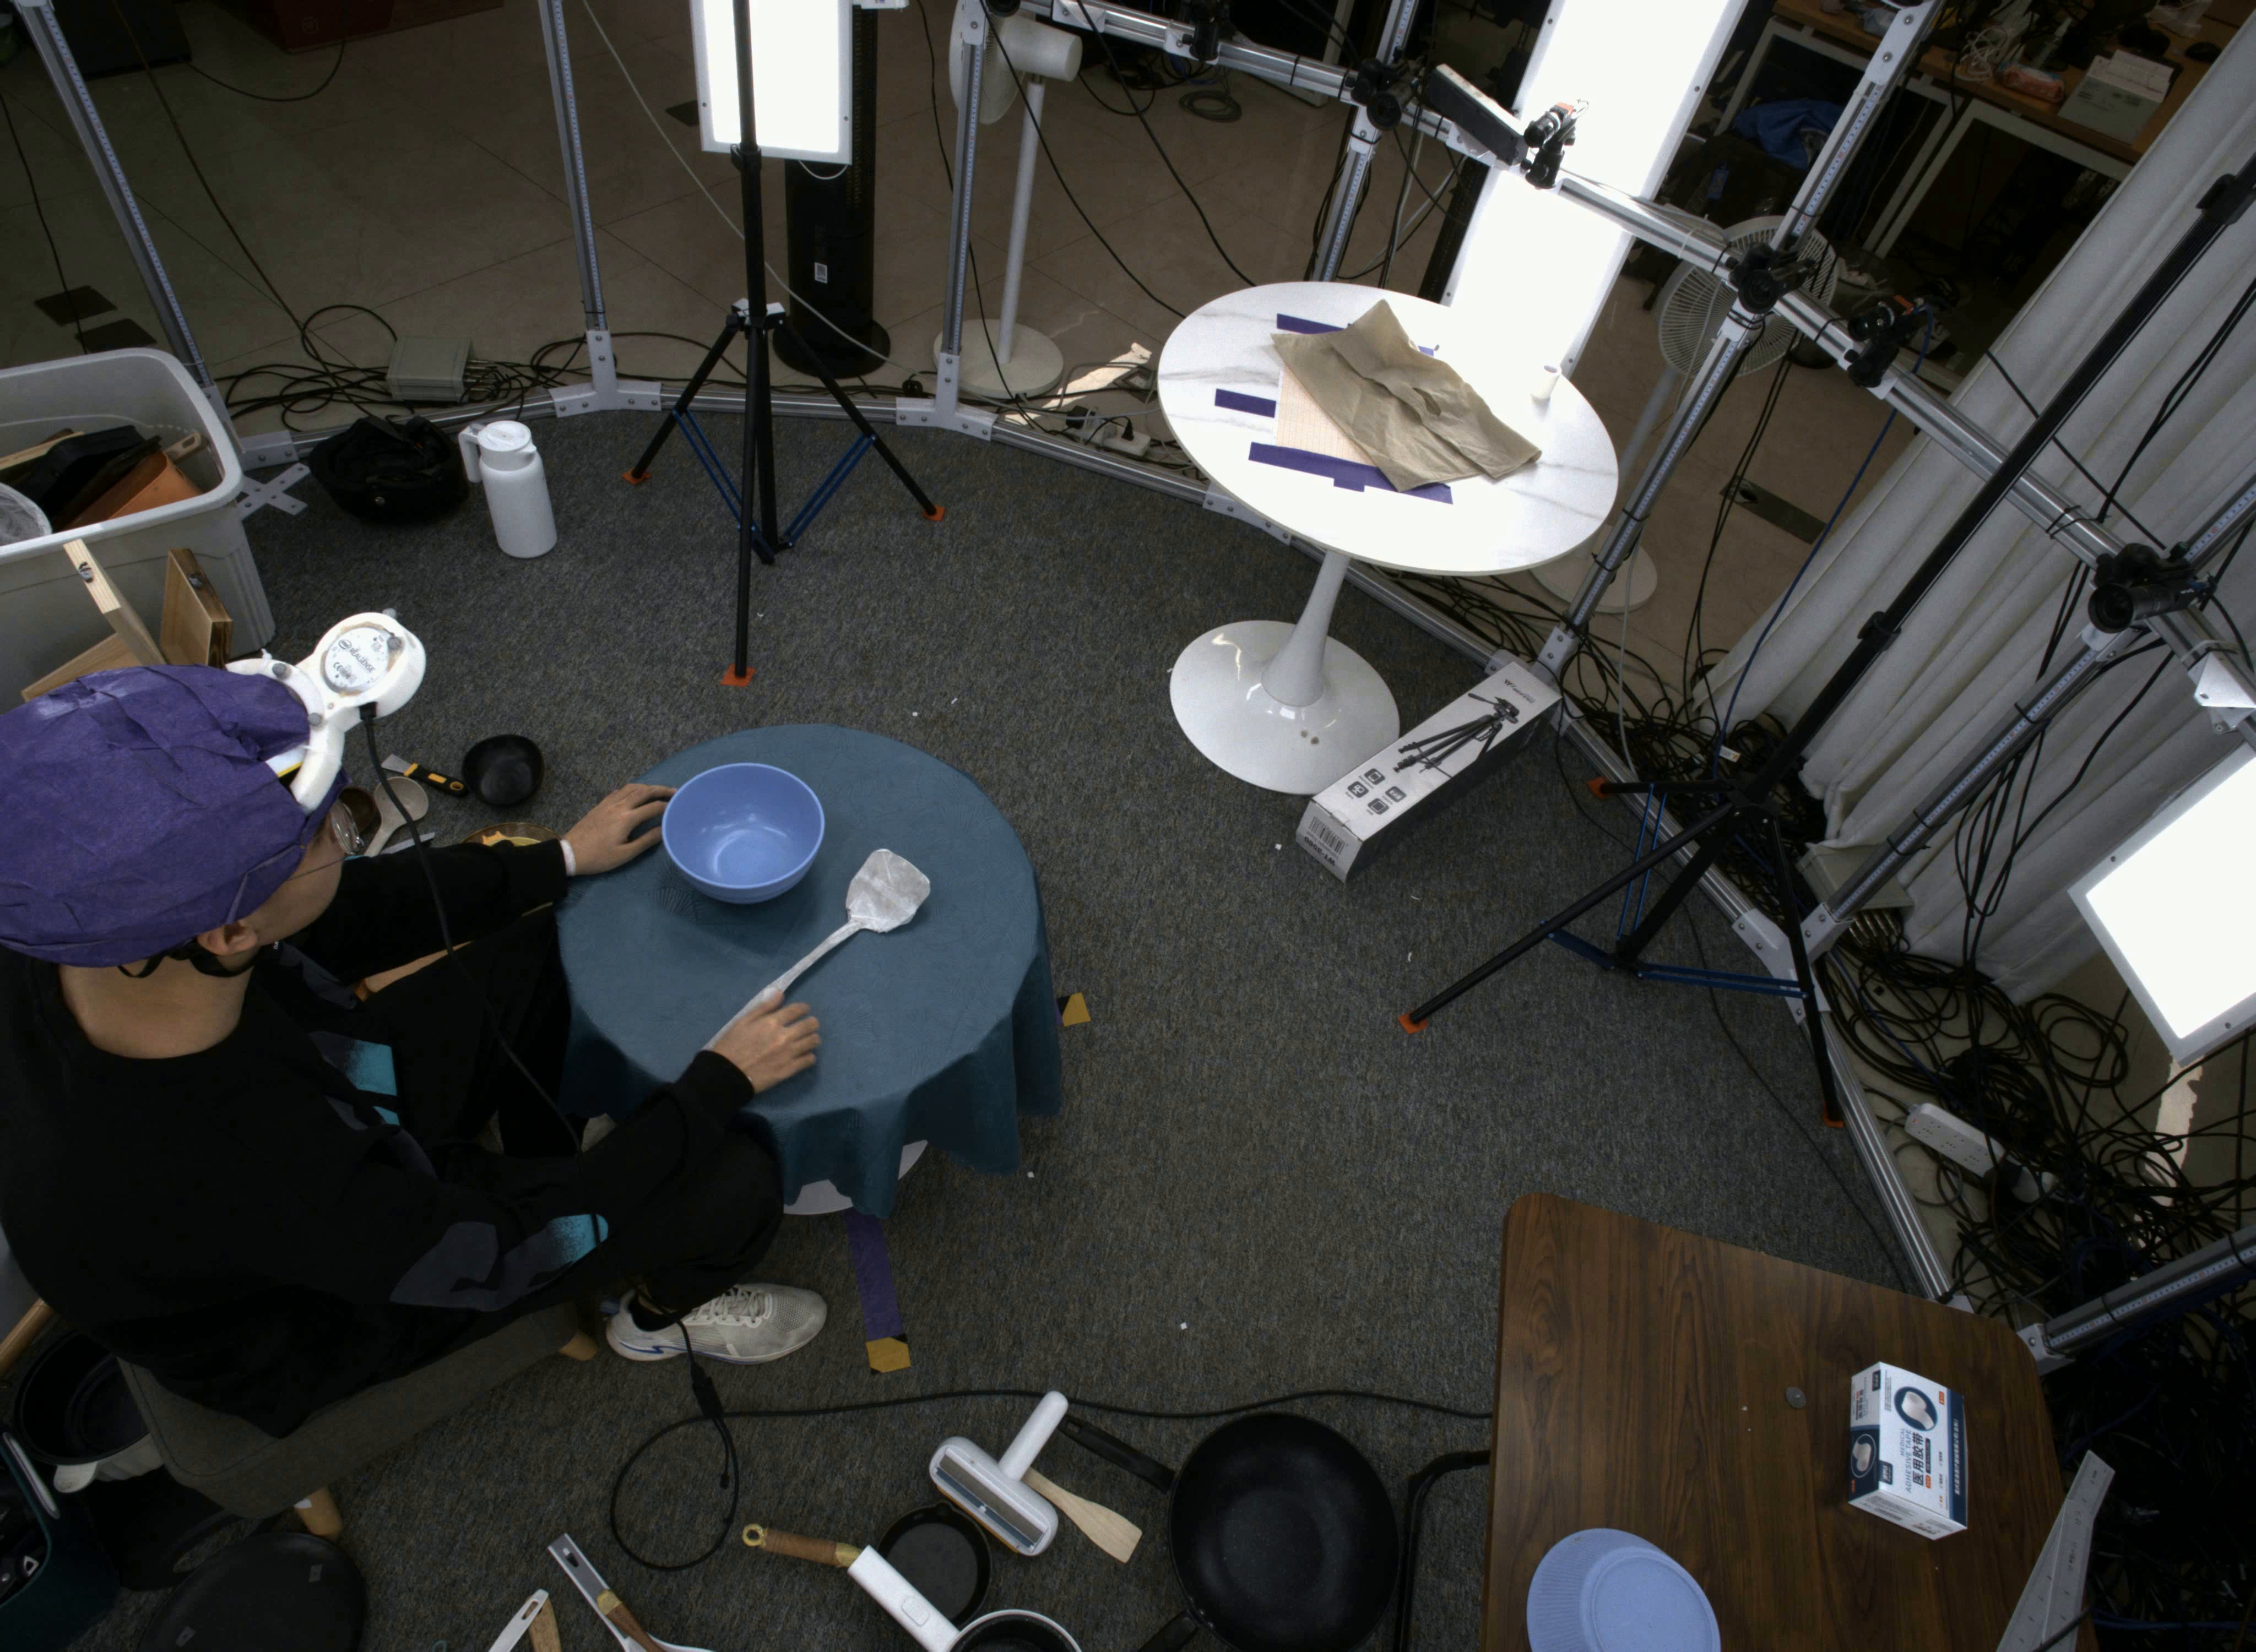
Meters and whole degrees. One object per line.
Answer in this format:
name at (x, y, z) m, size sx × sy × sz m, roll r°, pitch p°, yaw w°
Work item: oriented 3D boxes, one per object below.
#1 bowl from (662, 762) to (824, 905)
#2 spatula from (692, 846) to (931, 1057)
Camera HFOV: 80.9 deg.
bowl at (-0.483, 0.023, 1.635) m, size 0.196 × 0.097 × 0.193 m, roll 8°, pitch 51°, yaw -9°
spatula at (-0.392, 0.158, 1.595) m, size 0.097 × 0.045 × 0.365 m, roll 38°, pitch 54°, yaw 12°
